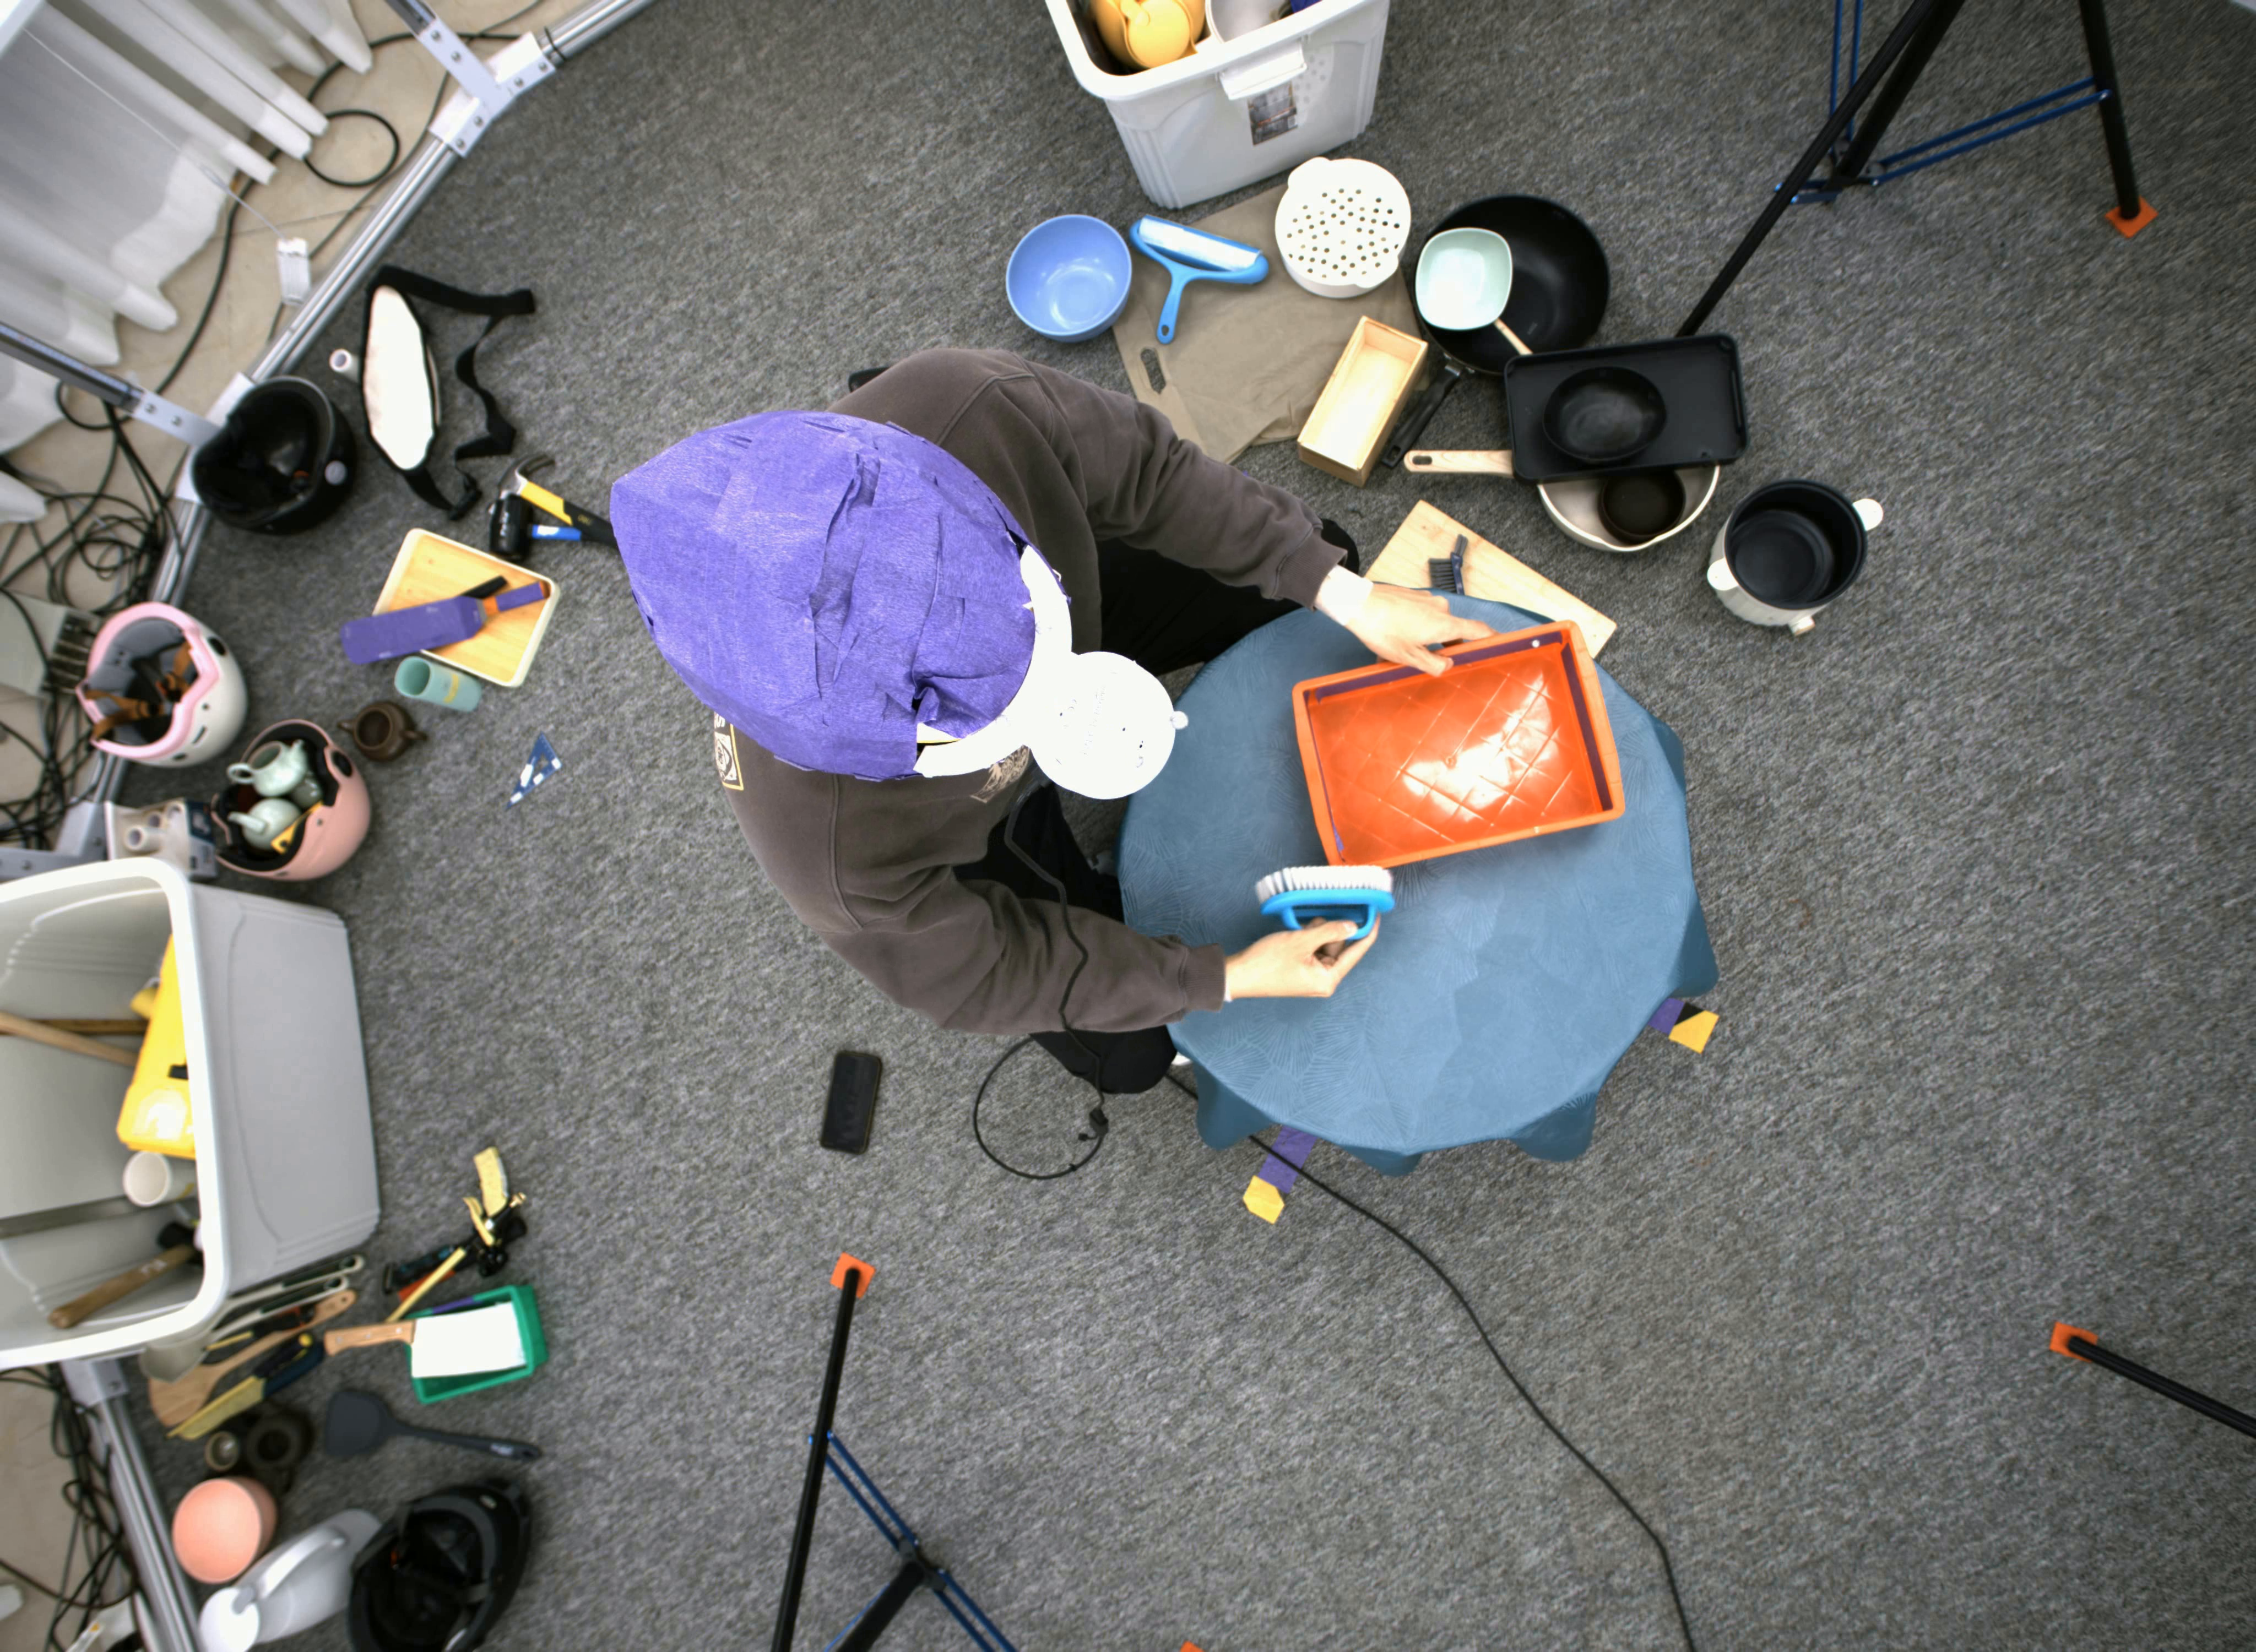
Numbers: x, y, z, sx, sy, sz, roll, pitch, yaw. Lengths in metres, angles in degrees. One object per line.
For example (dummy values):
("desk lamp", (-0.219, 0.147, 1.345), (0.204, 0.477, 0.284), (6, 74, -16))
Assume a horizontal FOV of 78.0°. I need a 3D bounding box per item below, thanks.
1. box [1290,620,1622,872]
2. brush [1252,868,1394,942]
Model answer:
("box", (0.331, -0.075, 1.410), (0.305, 0.096, 0.205), (-12, 85, 9))
("brush", (0.194, 0.083, 1.374), (0.141, 0.086, 0.062), (0, 69, -12))
